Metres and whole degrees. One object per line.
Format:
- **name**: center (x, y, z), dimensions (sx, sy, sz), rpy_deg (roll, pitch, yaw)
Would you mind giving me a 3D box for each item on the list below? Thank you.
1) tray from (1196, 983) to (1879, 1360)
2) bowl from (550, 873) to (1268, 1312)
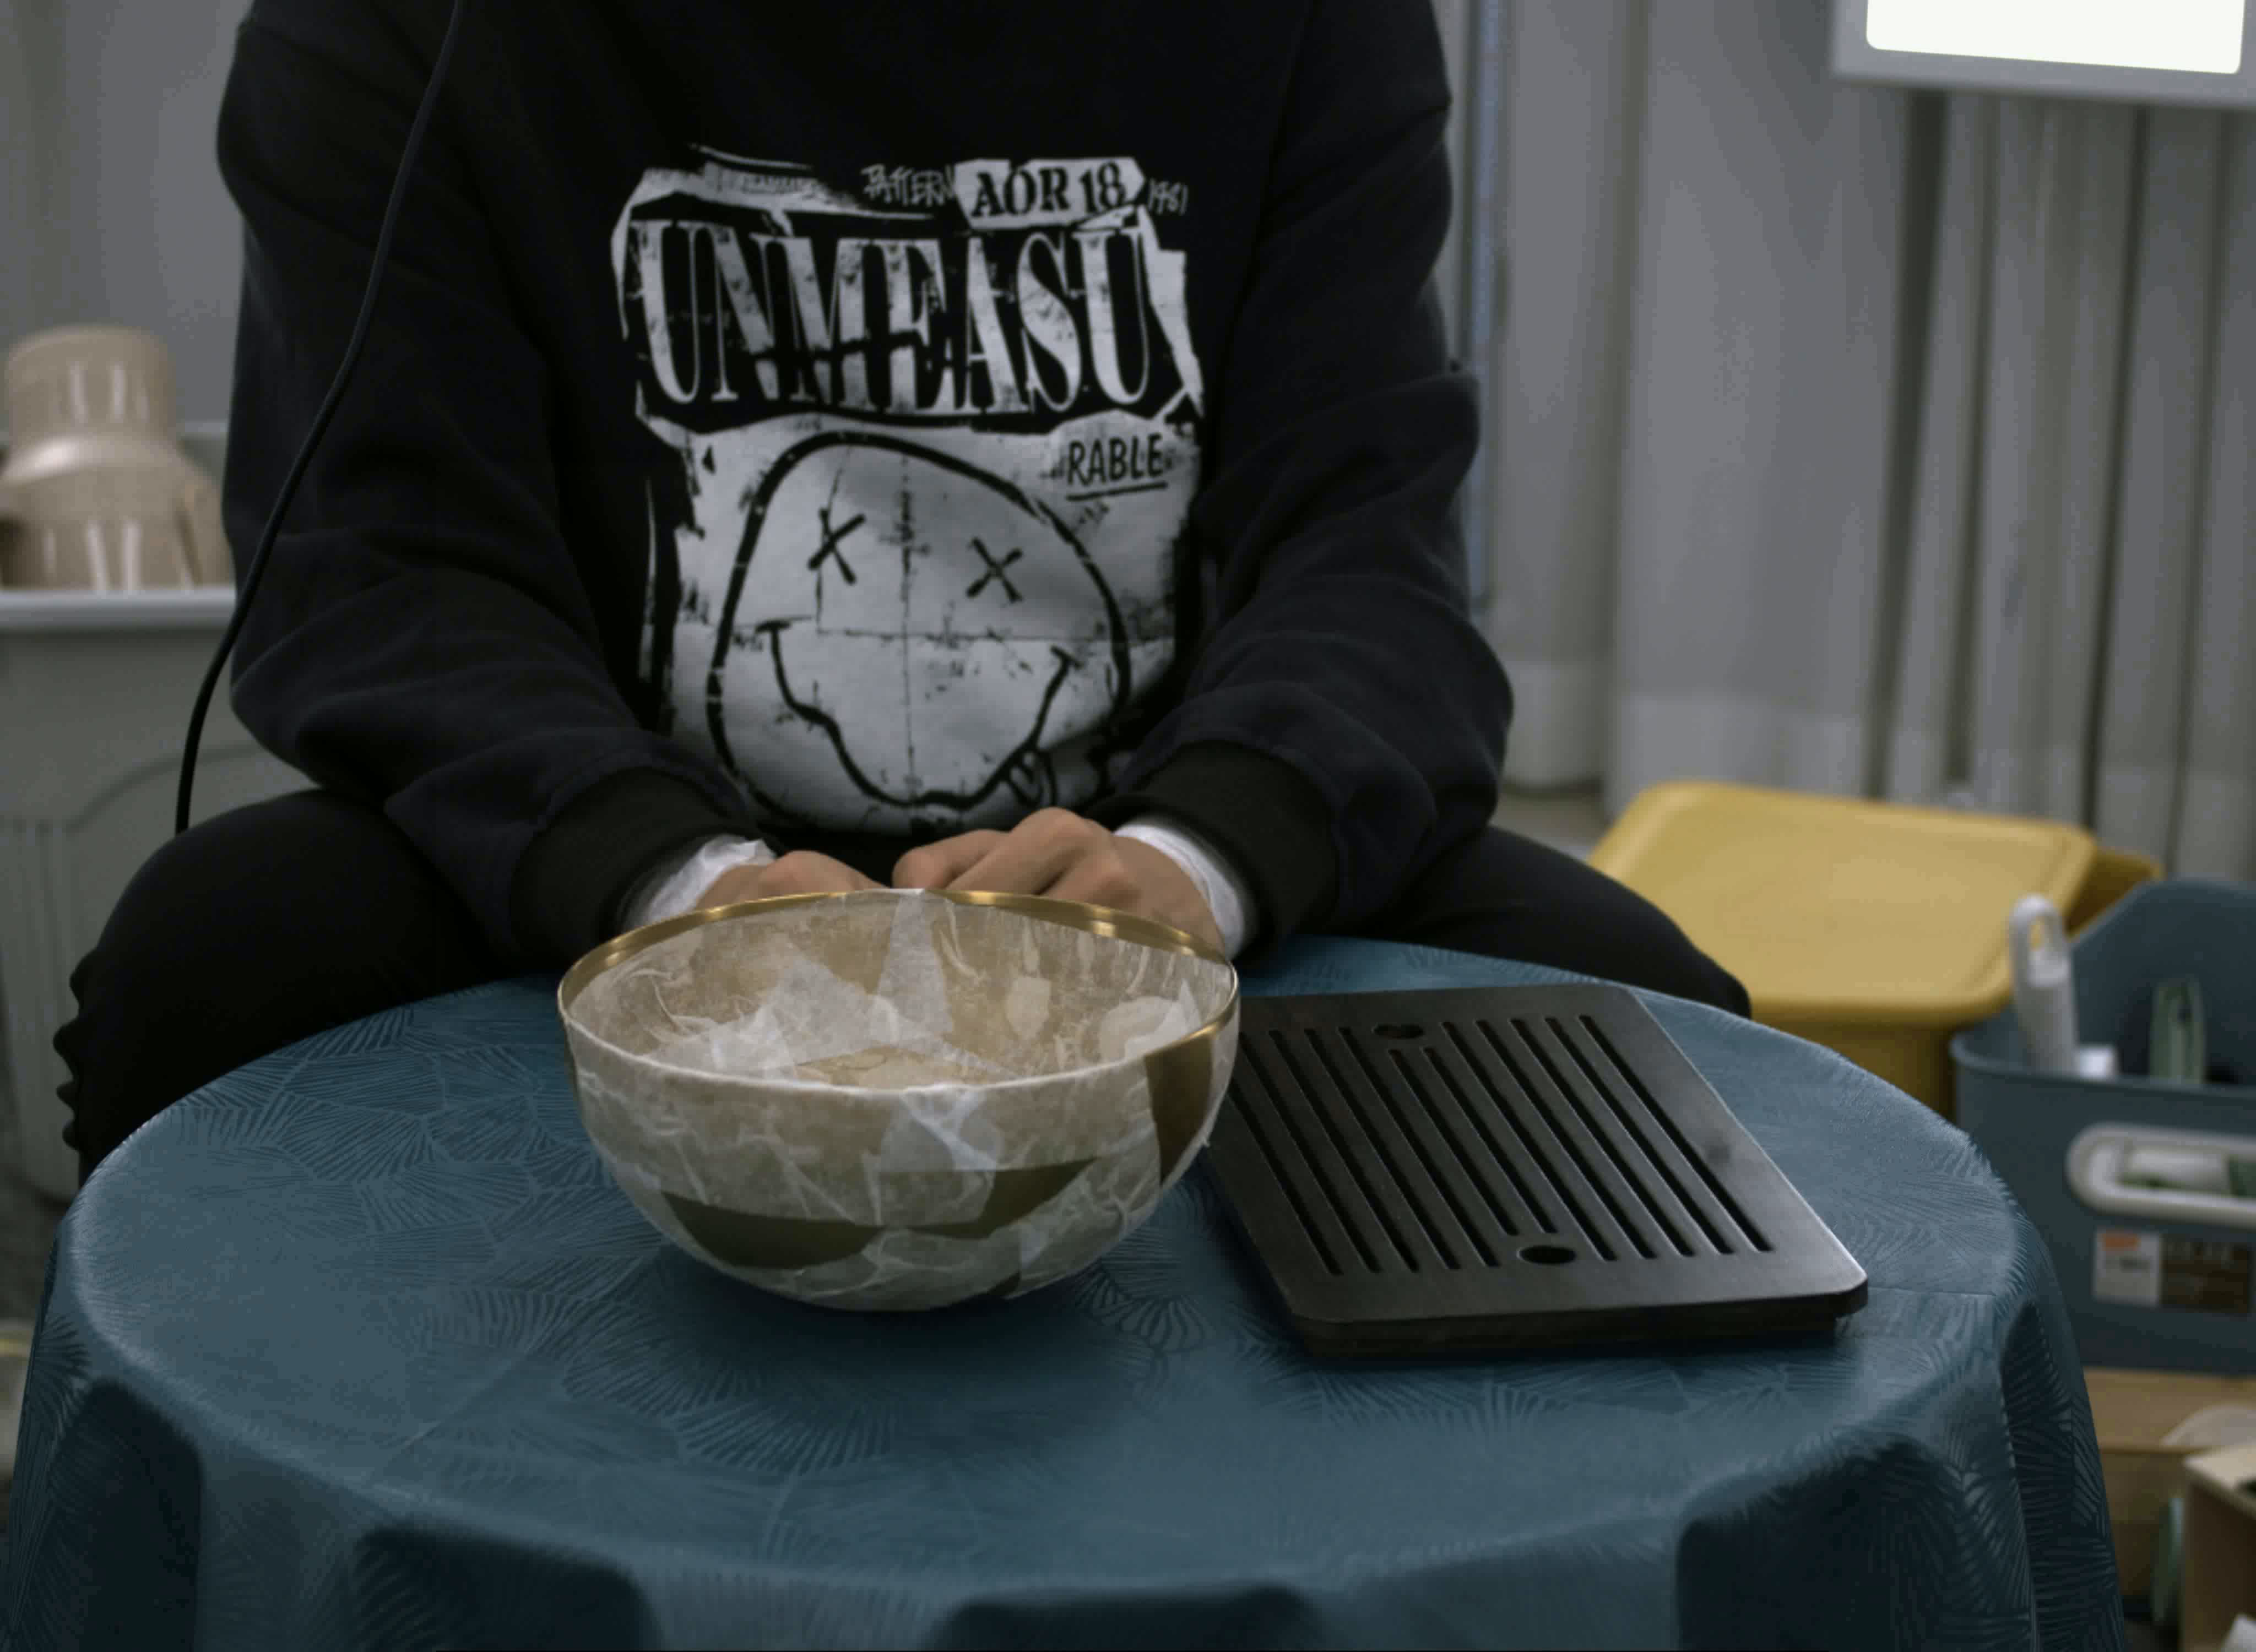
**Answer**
- **tray**: center (0.110, 0.104, 1.630), dimensions (0.170, 0.019, 0.303), rpy_deg (-2, 16, -9)
- **bowl**: center (-0.063, 0.087, 1.545), dimensions (0.214, 0.095, 0.213), rpy_deg (0, 16, 1)
